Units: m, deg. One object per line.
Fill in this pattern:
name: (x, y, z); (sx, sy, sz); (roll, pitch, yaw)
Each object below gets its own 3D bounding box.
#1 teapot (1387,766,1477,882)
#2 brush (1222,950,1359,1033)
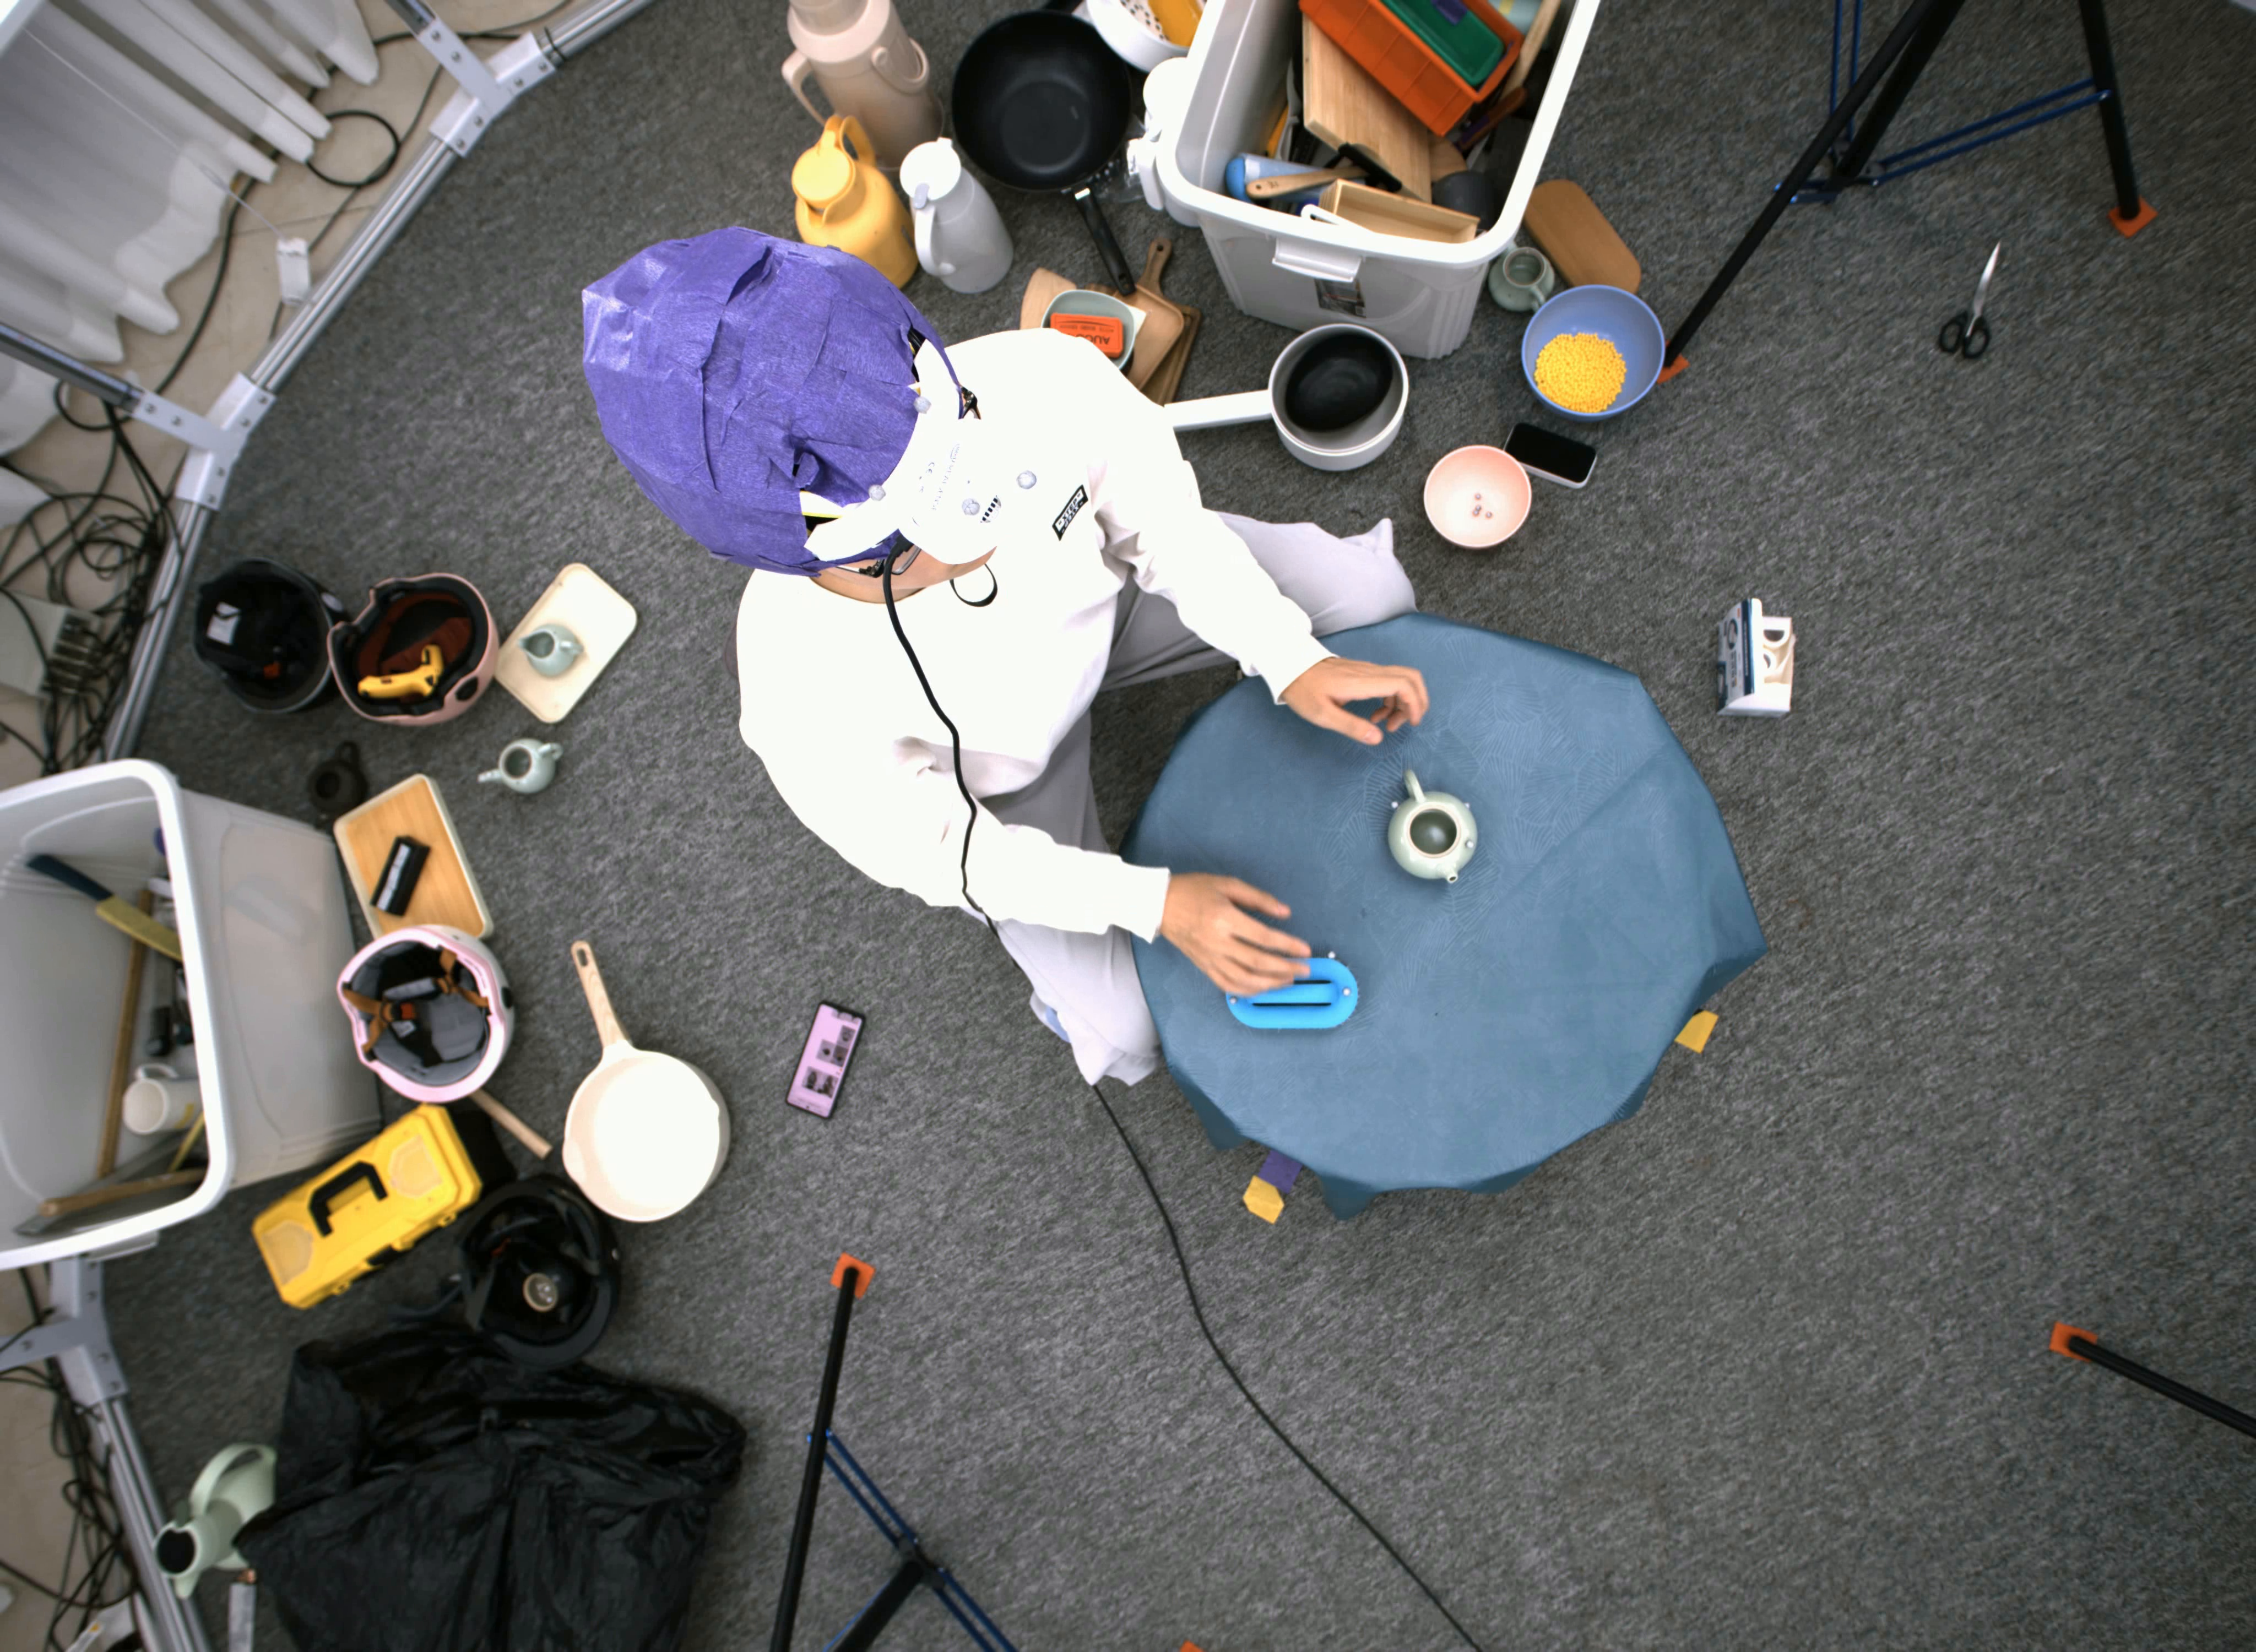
teapot: (0.312, -0.003, 1.426); (0.092, 0.061, 0.127); (-17, 81, 12)
brush: (0.168, 0.171, 1.440); (0.142, 0.063, 0.084); (0, 90, 11)
